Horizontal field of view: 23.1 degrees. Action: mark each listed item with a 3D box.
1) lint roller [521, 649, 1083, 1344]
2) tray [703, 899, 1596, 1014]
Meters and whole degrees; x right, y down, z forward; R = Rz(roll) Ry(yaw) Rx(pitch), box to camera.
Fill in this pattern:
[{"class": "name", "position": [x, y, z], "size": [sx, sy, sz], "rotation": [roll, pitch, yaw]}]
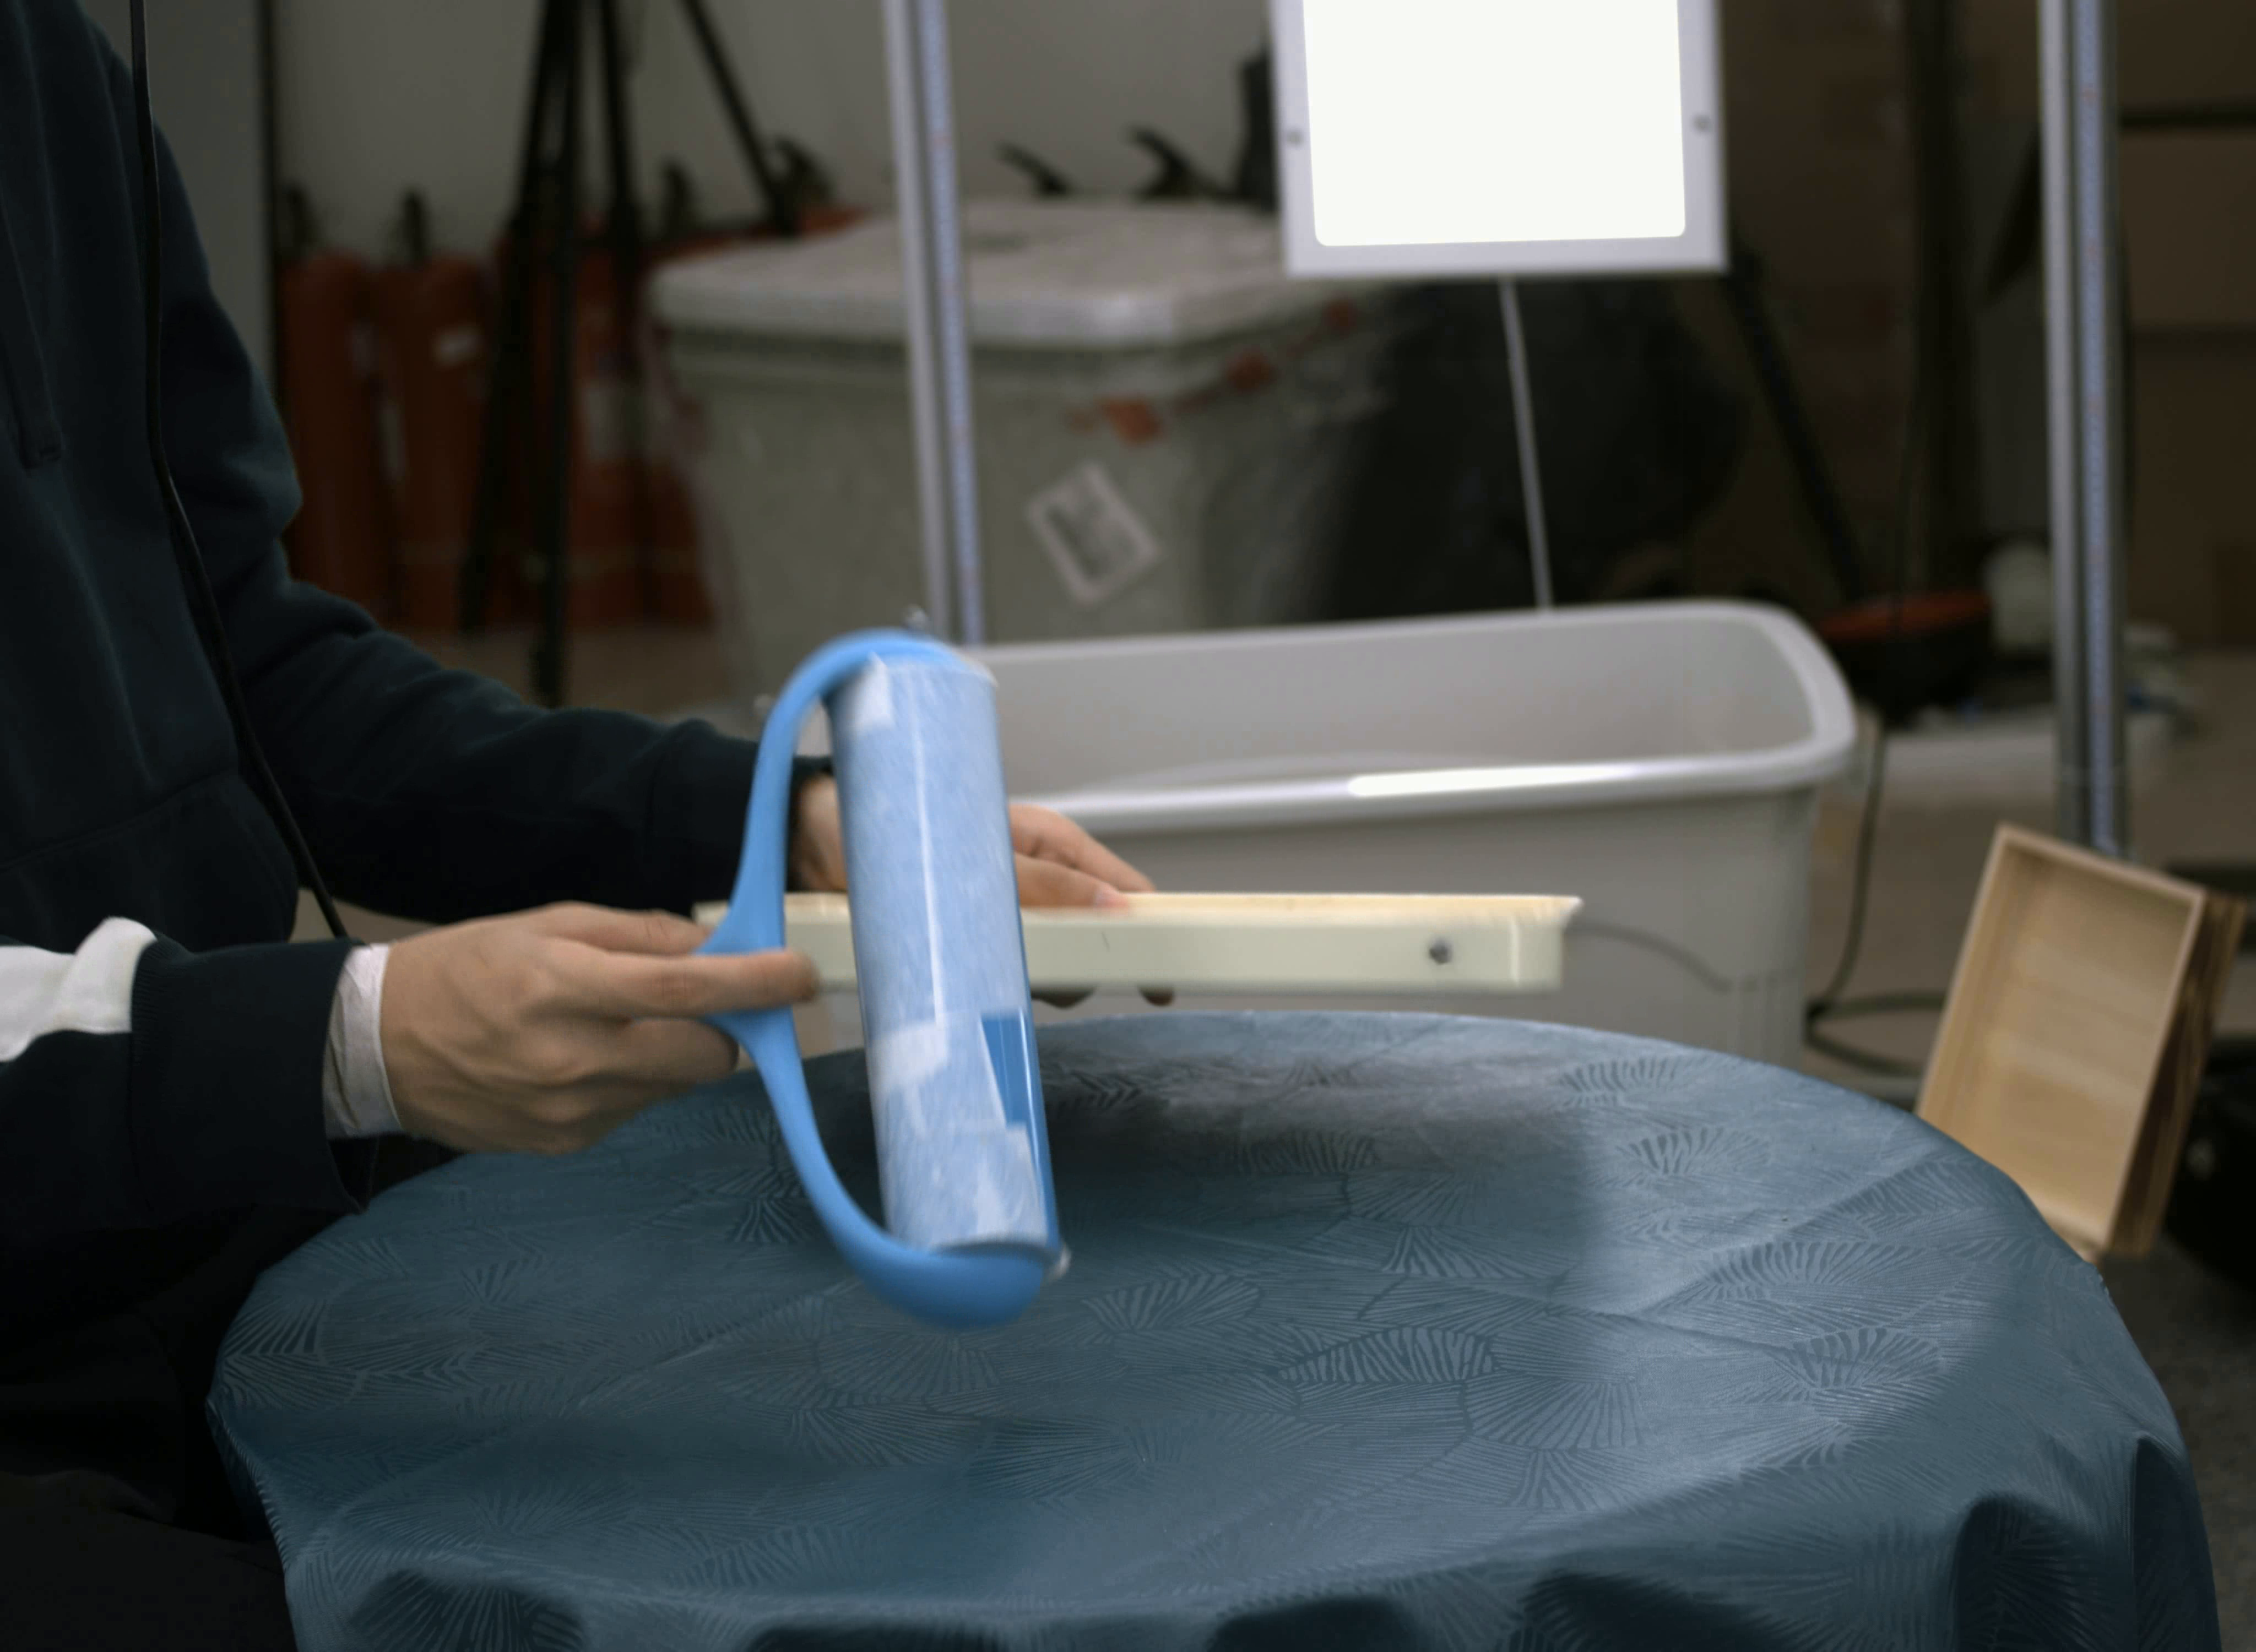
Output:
[{"class": "lint roller", "position": [-0.110, 0.063, 1.717], "size": [0.181, 0.229, 0.067], "rotation": [-13, -22, 8]}, {"class": "tray", "position": [0.012, 0.045, 1.946], "size": [0.302, 0.027, 0.190], "rotation": [0, 3, 10]}]
